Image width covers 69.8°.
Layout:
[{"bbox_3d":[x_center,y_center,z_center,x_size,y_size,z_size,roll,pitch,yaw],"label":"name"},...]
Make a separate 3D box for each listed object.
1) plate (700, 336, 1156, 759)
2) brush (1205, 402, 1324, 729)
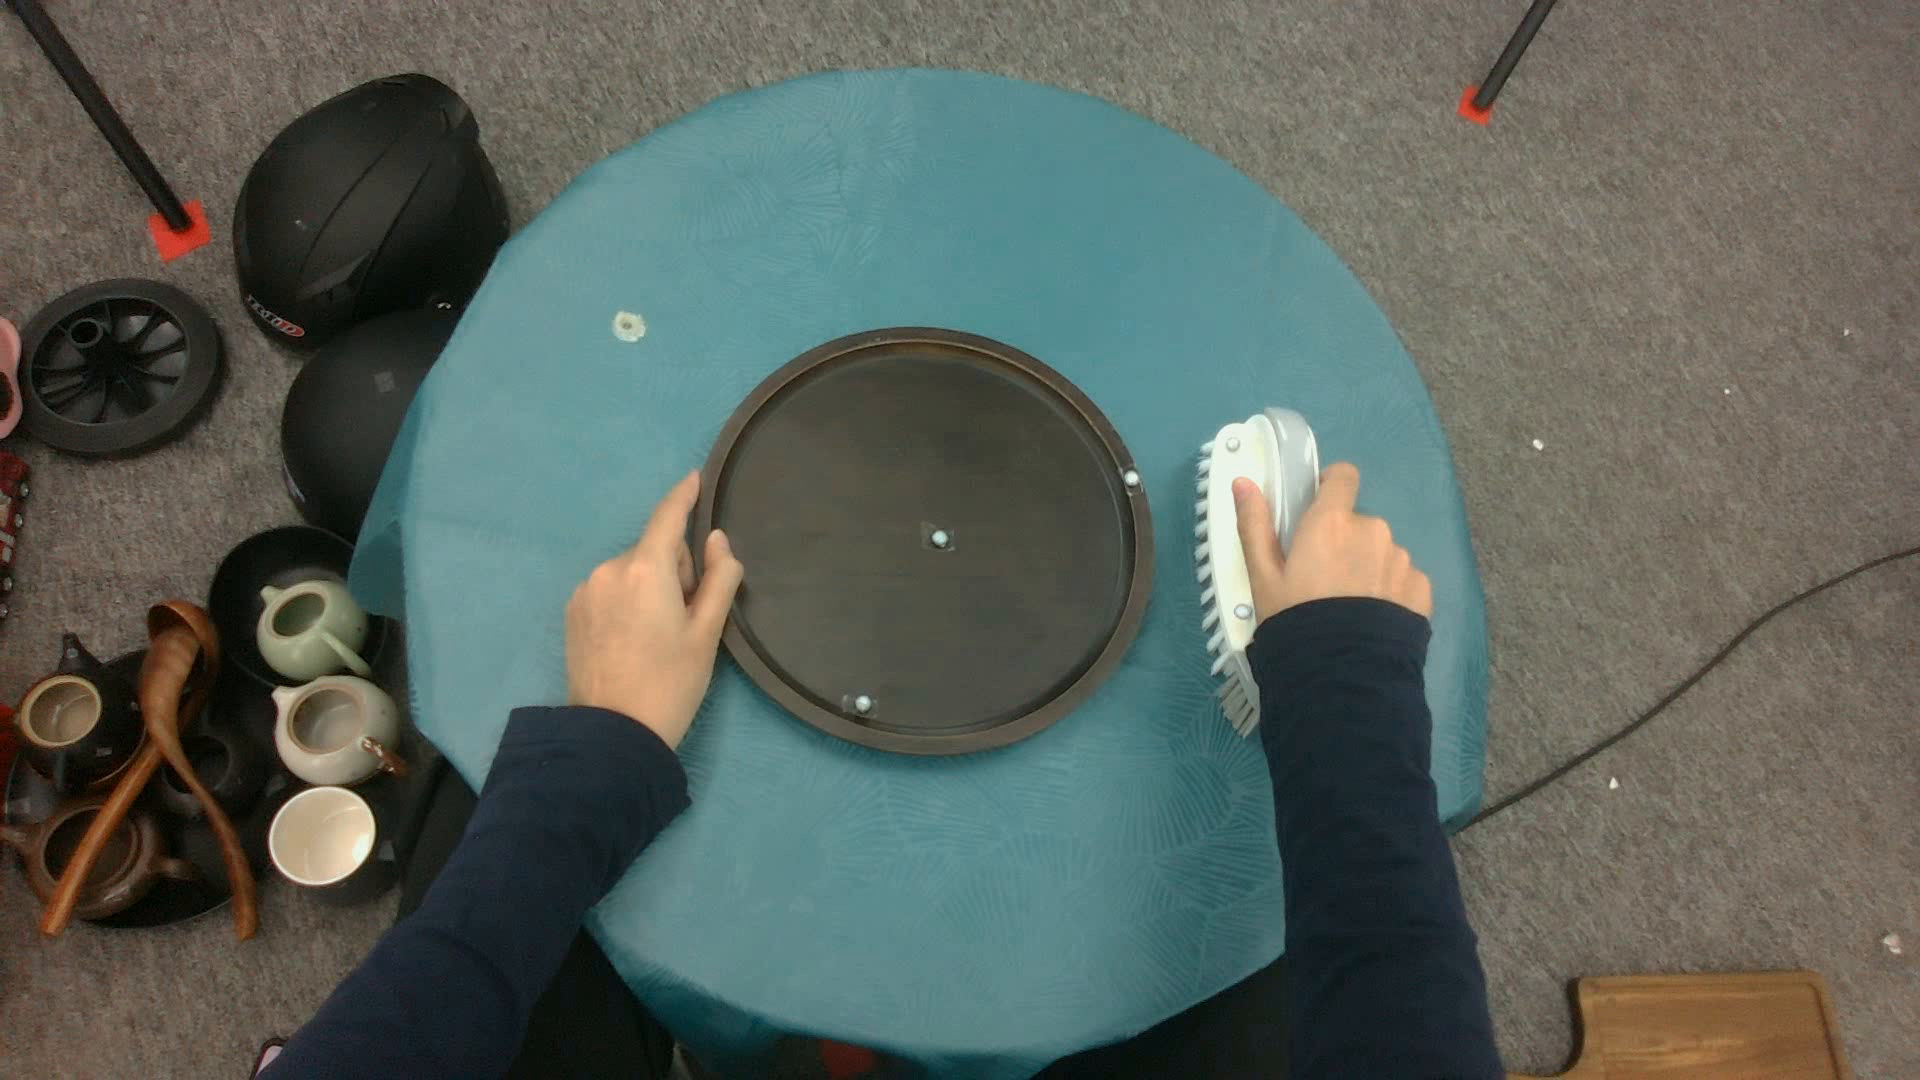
[{"bbox_3d":[-0.017,-0.001,0.768,0.255,0.029,0.255,3,66,-6],"label":"plate"},{"bbox_3d":[0.170,0.008,0.749,0.061,0.094,0.176,5,69,-2],"label":"brush"}]
